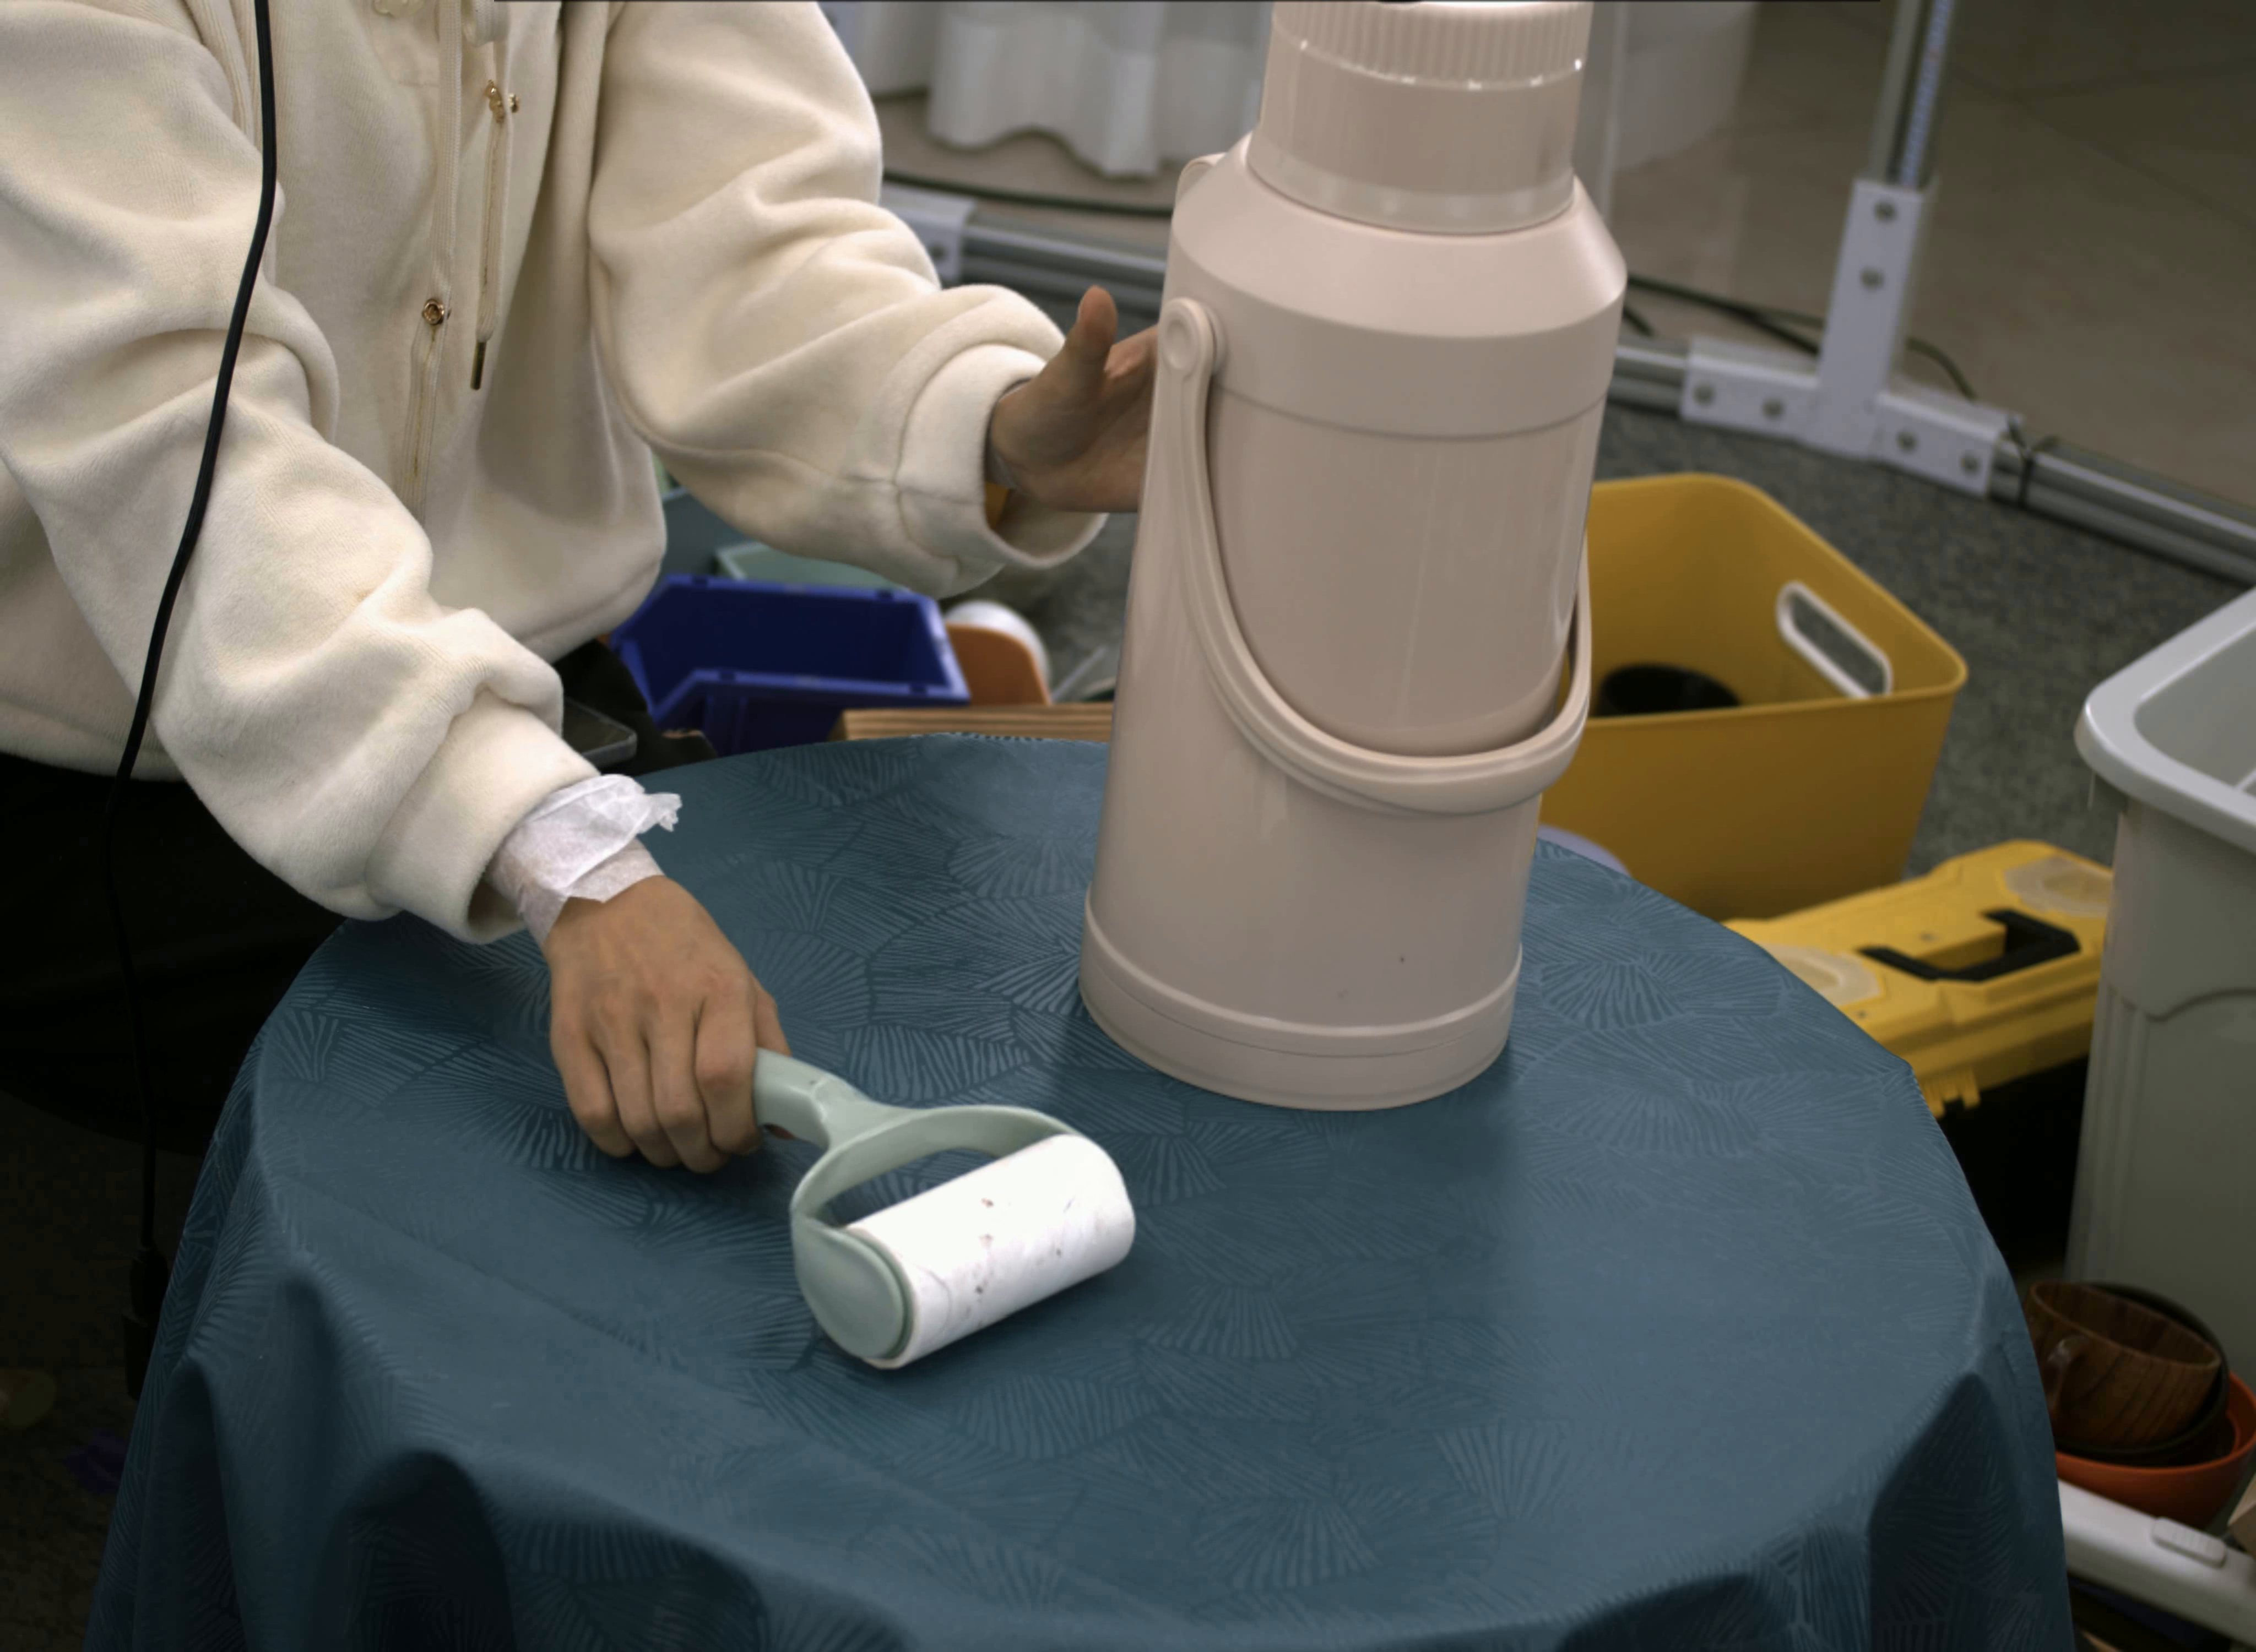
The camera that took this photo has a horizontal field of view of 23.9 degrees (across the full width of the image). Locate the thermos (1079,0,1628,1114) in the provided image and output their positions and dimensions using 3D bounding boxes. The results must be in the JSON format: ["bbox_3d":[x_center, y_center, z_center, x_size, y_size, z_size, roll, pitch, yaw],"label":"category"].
[{"bbox_3d":[0.075,-0.117,1.855,0.174,0.405,0.209,-11,31,-31],"label":"thermos"}]

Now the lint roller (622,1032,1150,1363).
[{"bbox_3d":[-0.095,0.104,1.763,0.116,0.048,0.199,-22,41,-40],"label":"lint roller"}]
